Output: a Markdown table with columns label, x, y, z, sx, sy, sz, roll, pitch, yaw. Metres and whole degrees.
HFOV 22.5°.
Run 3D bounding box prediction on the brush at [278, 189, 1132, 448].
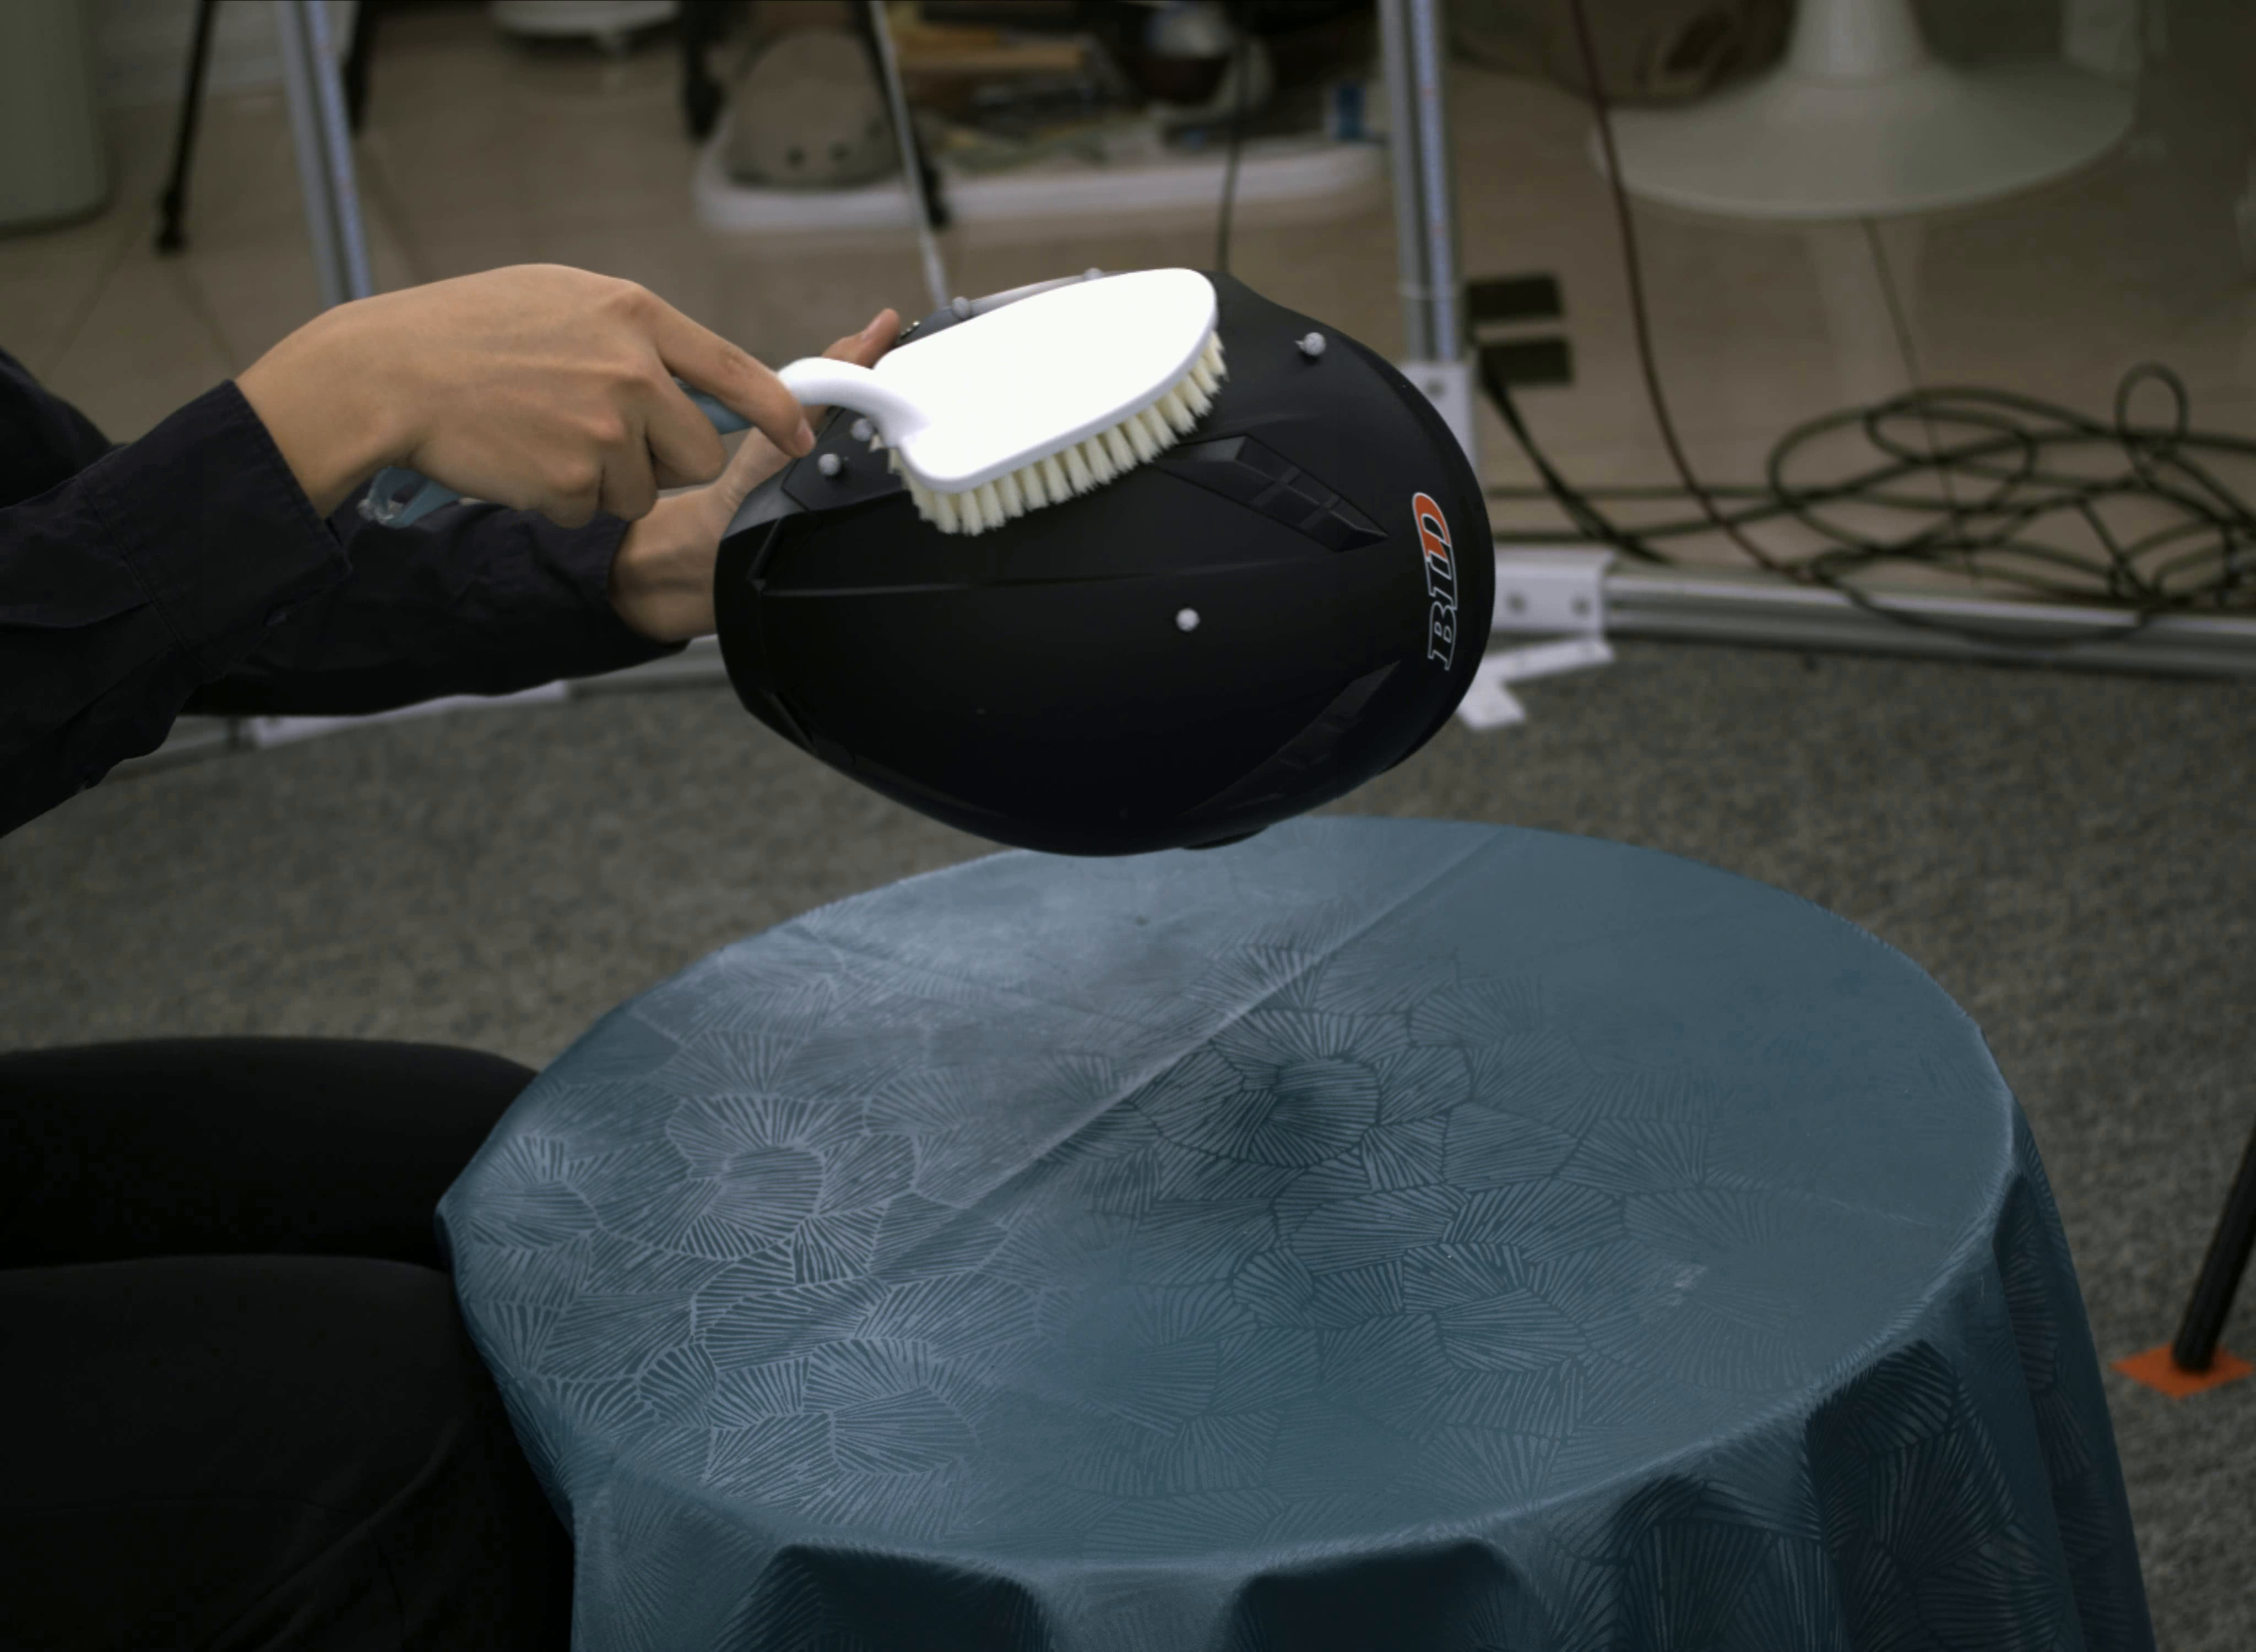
| label | x | y | z | sx | sy | sz | roll | pitch | yaw |
| --- | --- | --- | --- | --- | --- | --- | --- | --- | --- |
| brush | -0.150 | -0.166 | 2.033 | 0.324 | 0.085 | 0.082 | -15 | 17 | -19 |

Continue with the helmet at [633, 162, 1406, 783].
| label | x | y | z | sx | sy | sz | roll | pitch | yaw |
| --- | --- | --- | --- | --- | --- | --- | --- | --- | --- |
| helmet | -0.044 | -0.121 | 2.155 | 0.276 | 0.250 | 0.170 | 3 | 25 | 20 |
